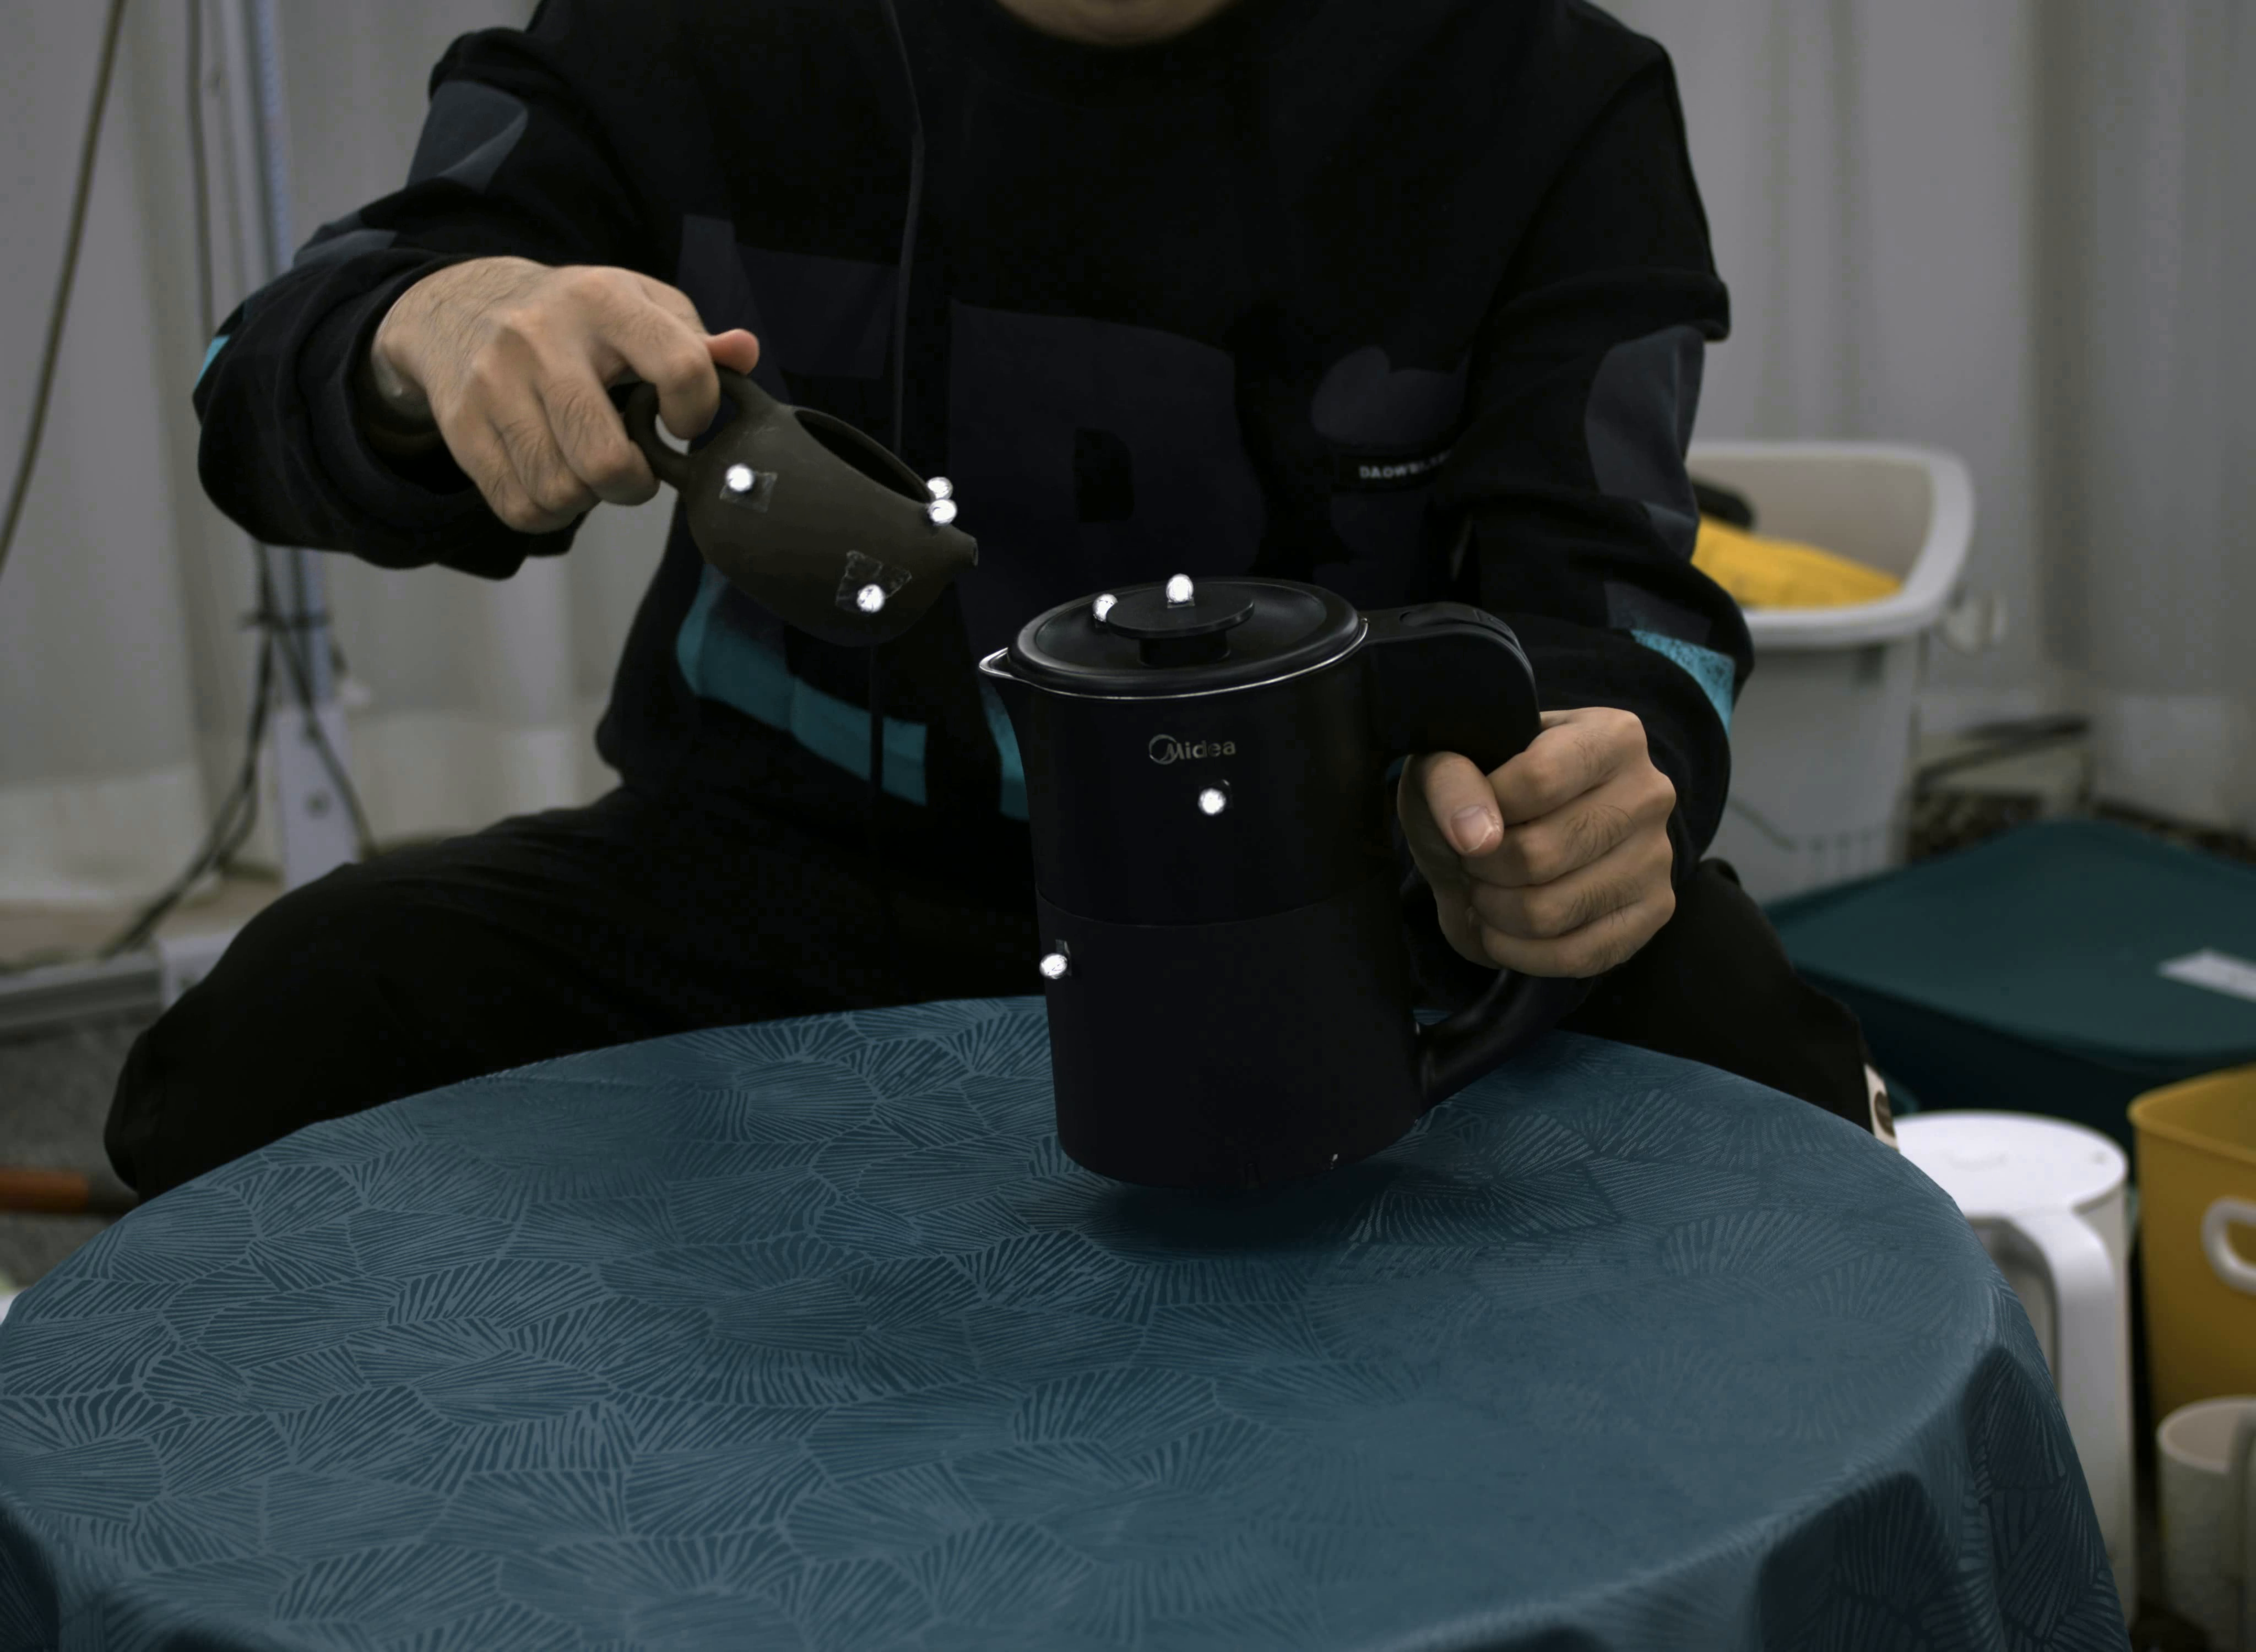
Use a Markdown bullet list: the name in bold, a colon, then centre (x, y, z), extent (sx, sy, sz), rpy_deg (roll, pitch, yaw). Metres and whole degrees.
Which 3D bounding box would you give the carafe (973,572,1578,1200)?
- **carafe**: centre (0.047, 0.009, 1.668), extent (0.171, 0.172, 0.115), rpy_deg (-9, 16, -1)

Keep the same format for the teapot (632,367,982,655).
- **teapot**: centre (-0.100, -0.096, 1.649), extent (0.114, 0.053, 0.083), rpy_deg (39, 13, 7)
